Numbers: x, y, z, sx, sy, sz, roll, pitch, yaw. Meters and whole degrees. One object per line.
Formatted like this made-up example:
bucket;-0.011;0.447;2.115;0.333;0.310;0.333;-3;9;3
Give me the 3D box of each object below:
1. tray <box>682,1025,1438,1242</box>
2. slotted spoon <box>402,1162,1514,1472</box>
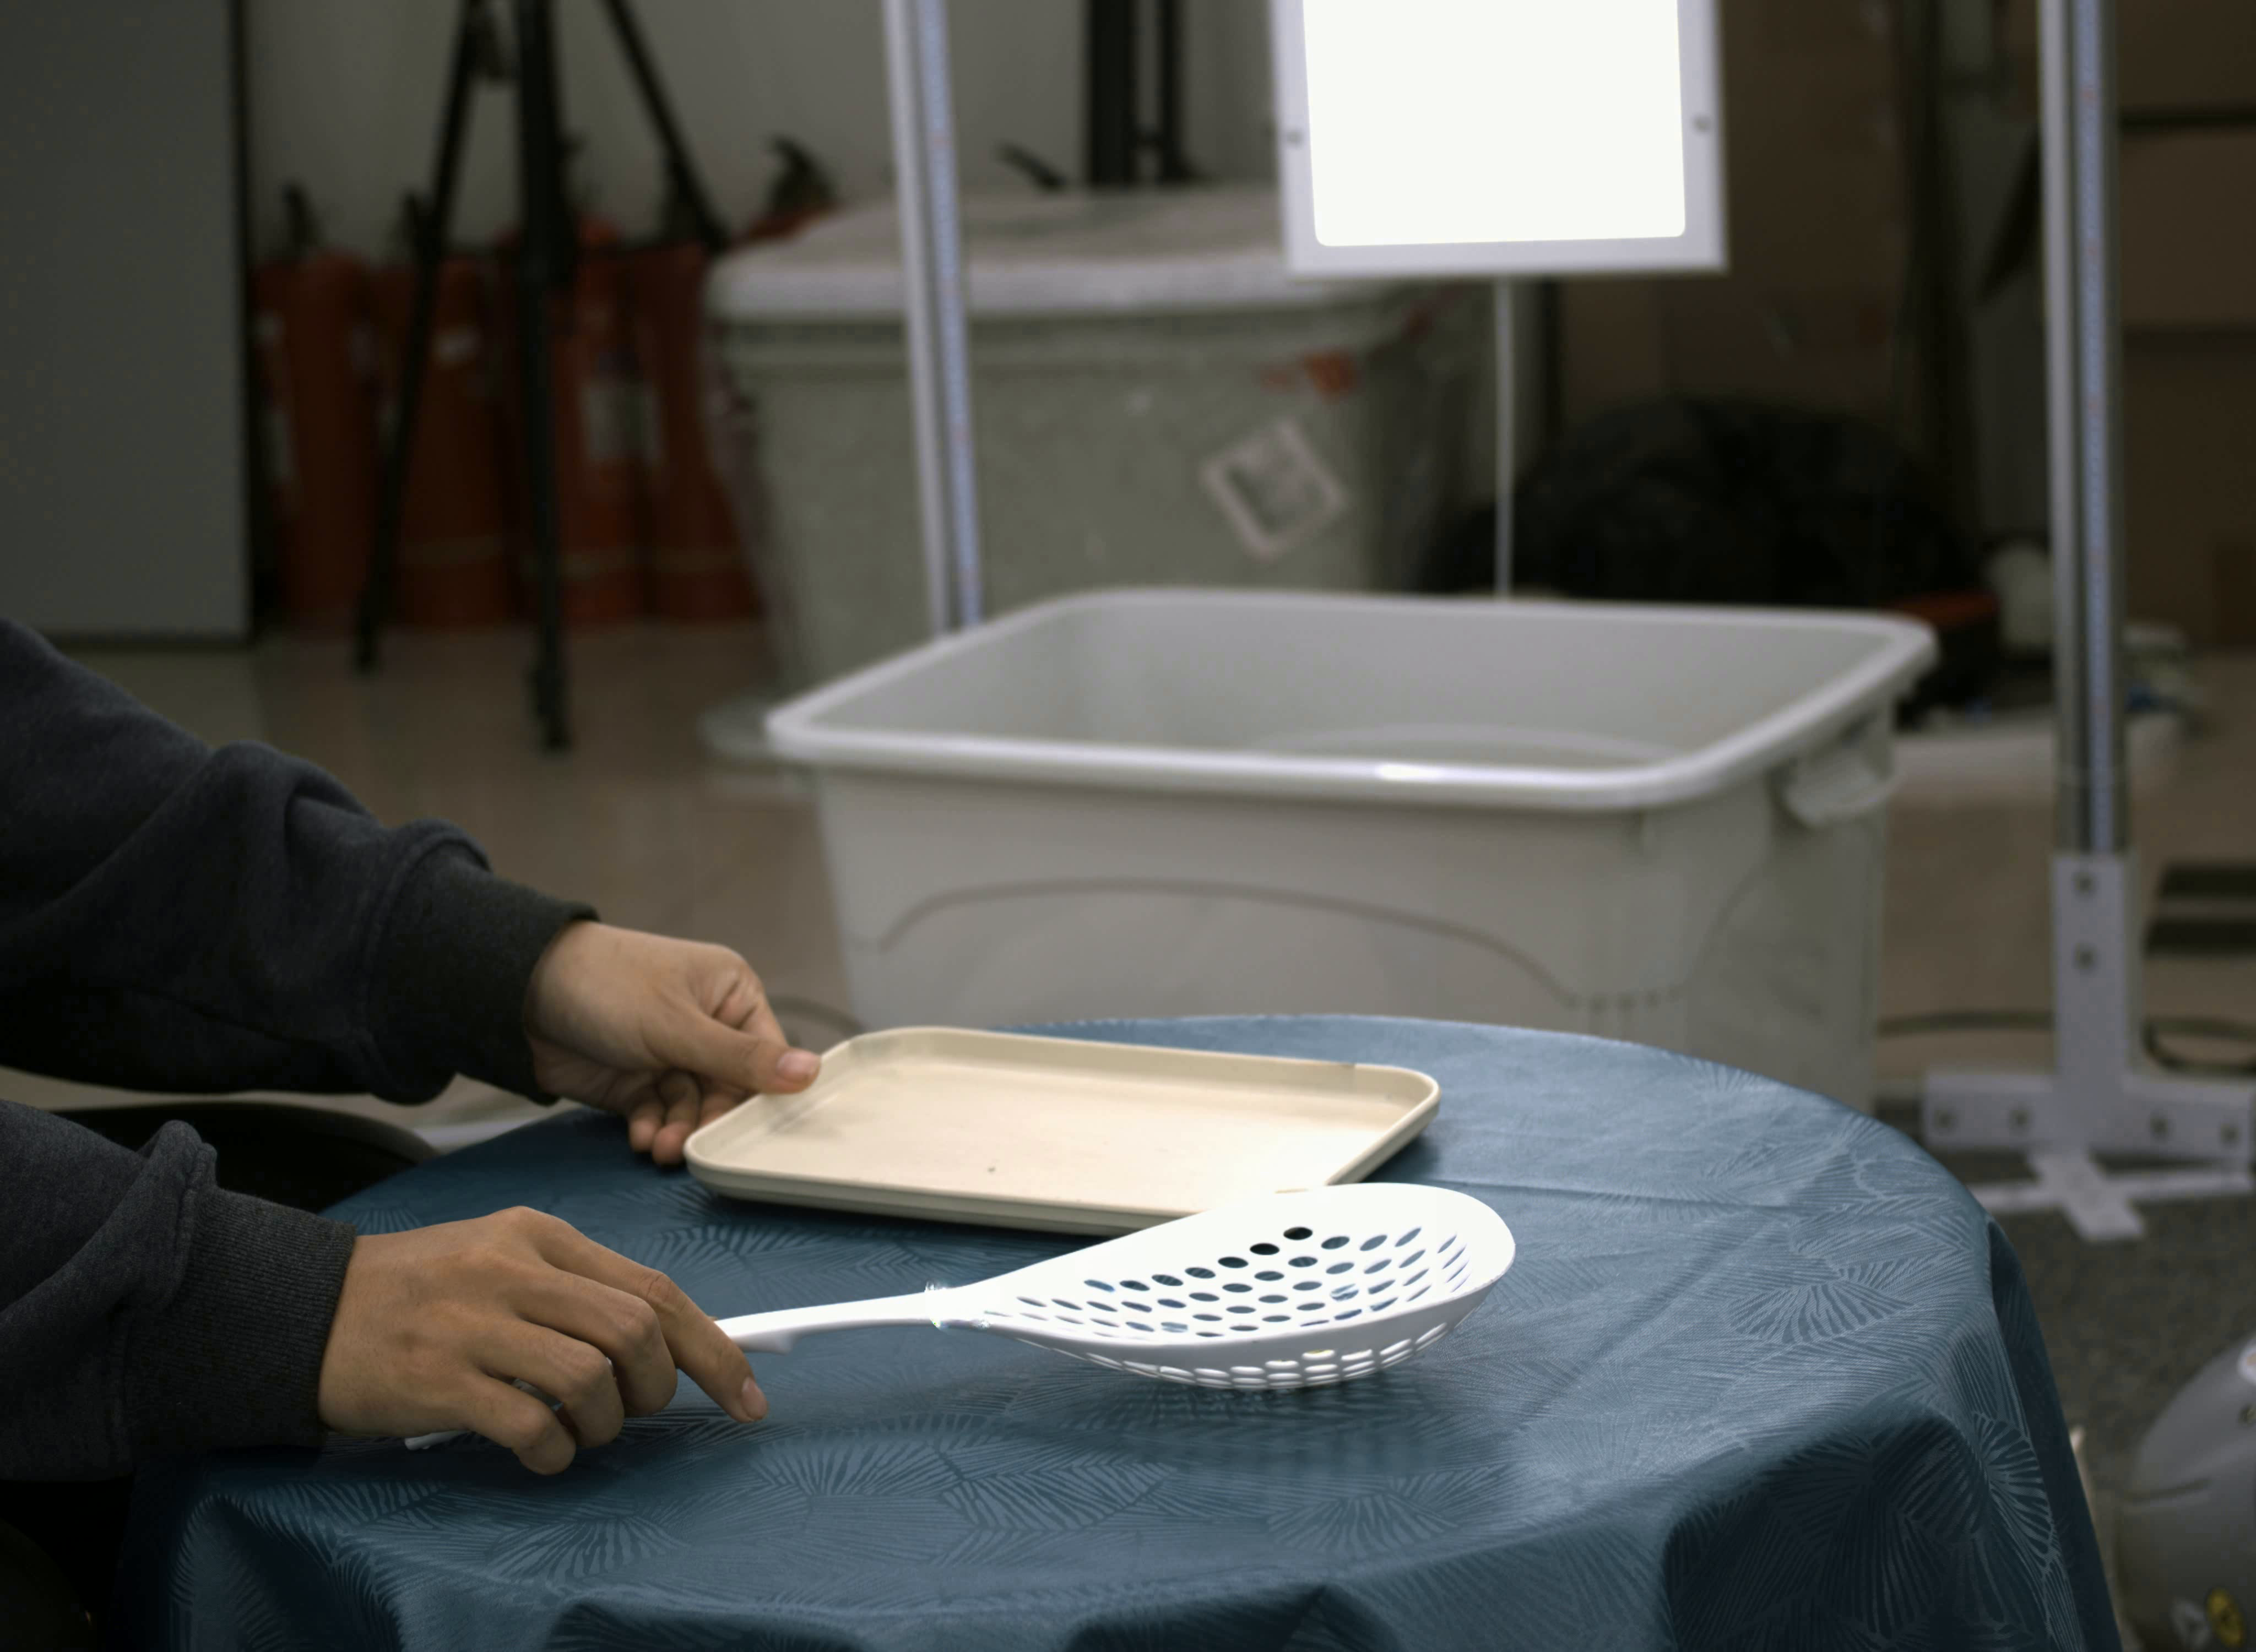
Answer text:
tray;-0.023;0.108;1.931;0.244;0.017;0.167;4;17;27
slotted spoon;-0.052;0.158;1.700;0.347;0.050;0.136;-5;15;0
